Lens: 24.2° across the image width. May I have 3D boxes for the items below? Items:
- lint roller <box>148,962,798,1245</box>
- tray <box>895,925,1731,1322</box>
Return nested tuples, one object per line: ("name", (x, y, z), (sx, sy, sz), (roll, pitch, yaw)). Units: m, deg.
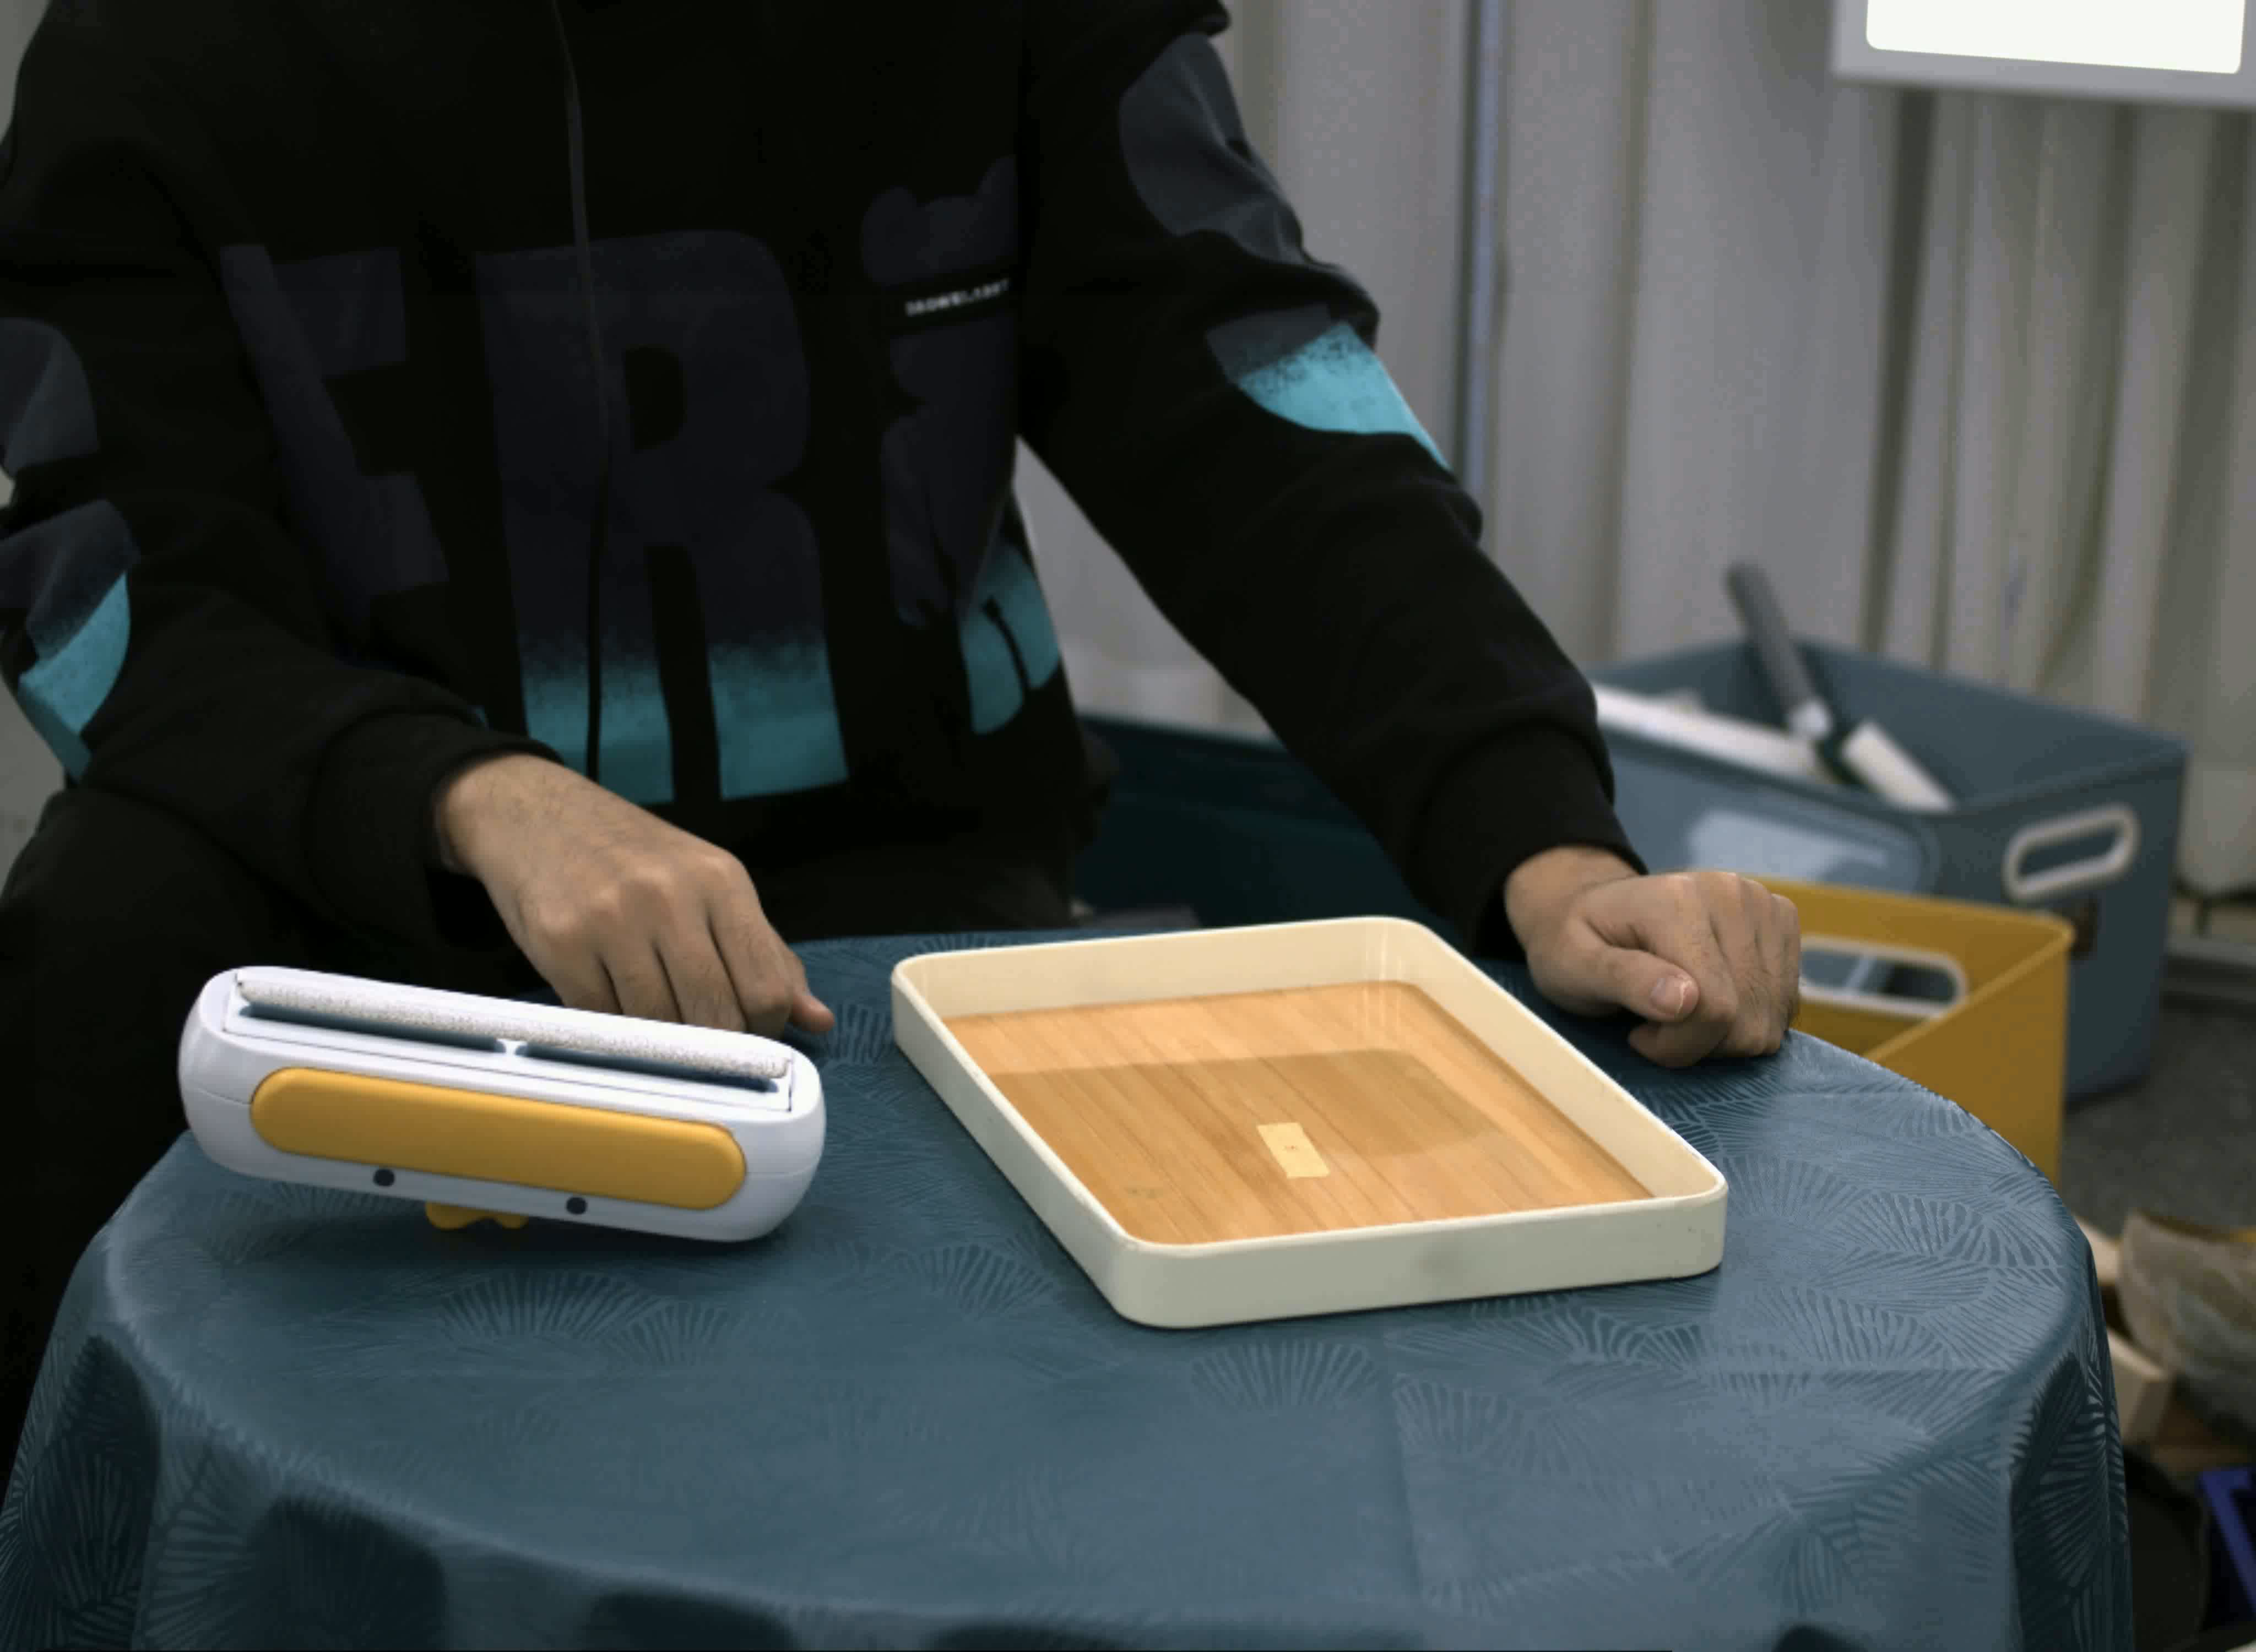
("lint roller", (-0.196, 0.074, 1.623), (0.192, 0.075, 0.191), (5, 14, -3))
("tray", (0.050, 0.089, 1.657), (0.192, 0.027, 0.297), (-3, 16, -16))
